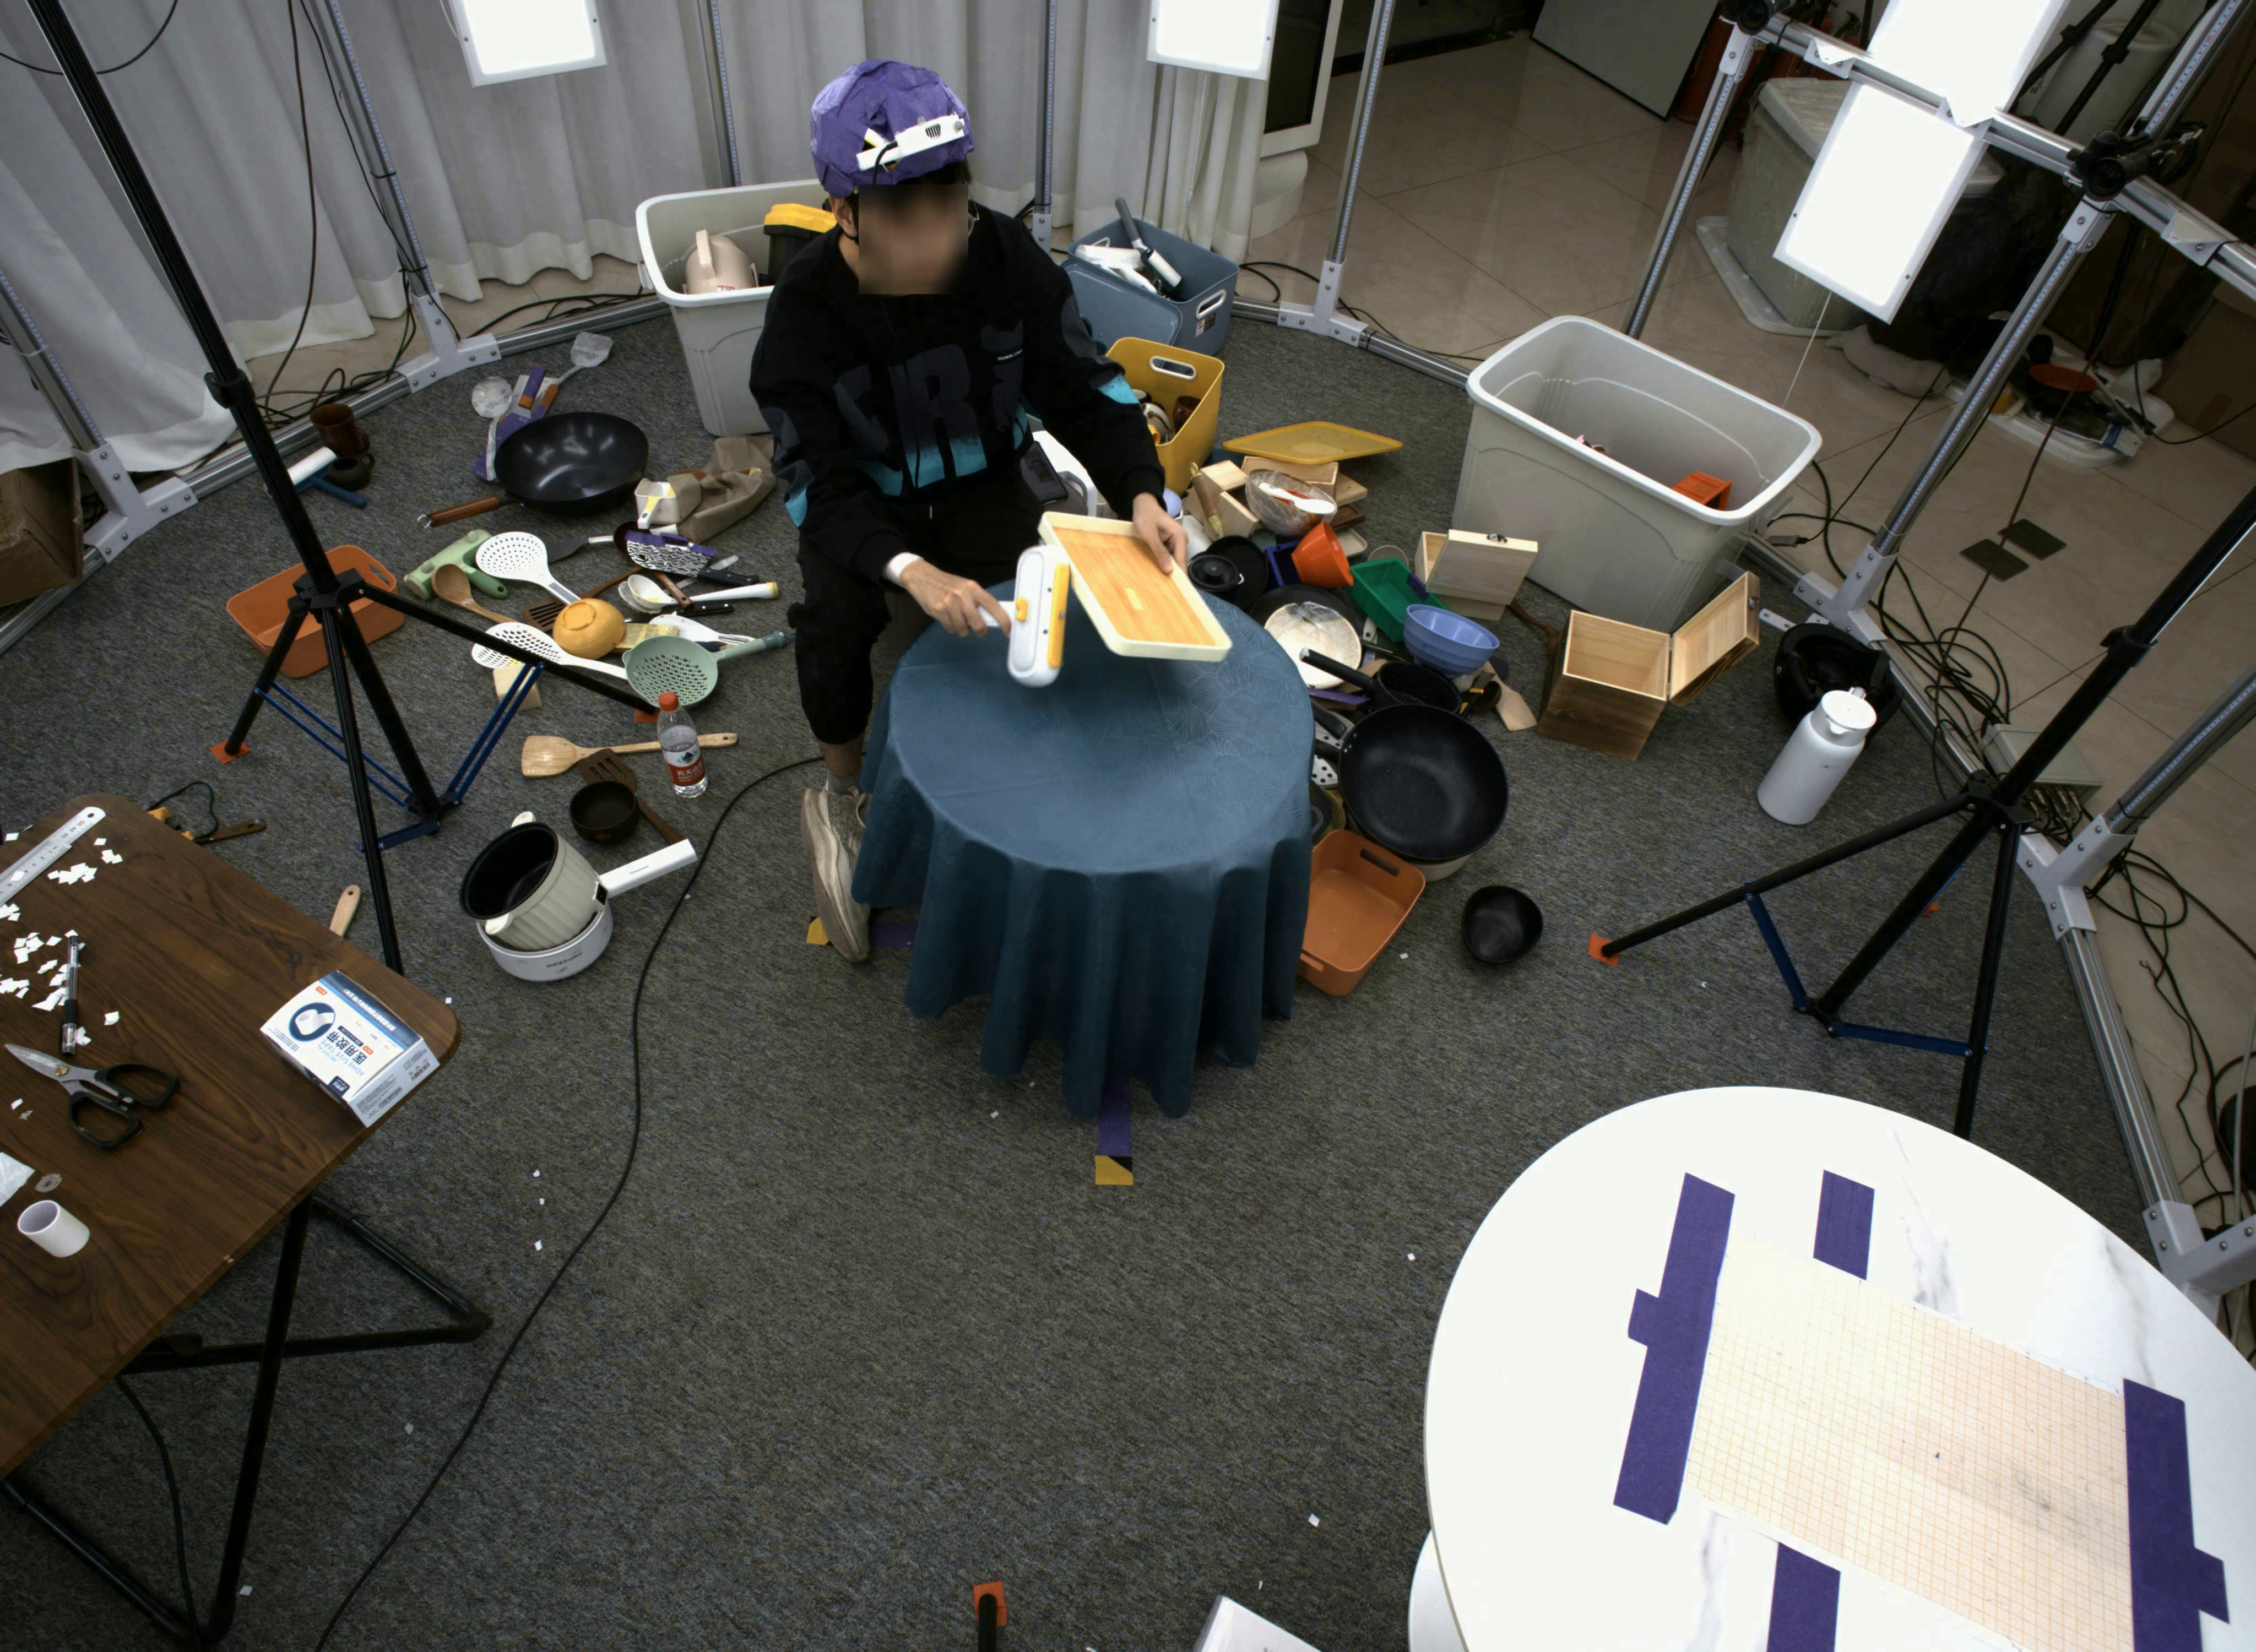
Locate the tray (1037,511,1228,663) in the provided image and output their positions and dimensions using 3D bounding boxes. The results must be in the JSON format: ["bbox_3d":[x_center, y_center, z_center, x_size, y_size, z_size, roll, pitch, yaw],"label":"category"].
[{"bbox_3d":[0.004,-0.338,1.809,0.190,0.027,0.307,1,44,-31],"label":"tray"}]

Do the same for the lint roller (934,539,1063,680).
[{"bbox_3d":[-0.177,-0.296,1.787,0.193,0.193,0.074,-1,-2,31],"label":"lint roller"}]
